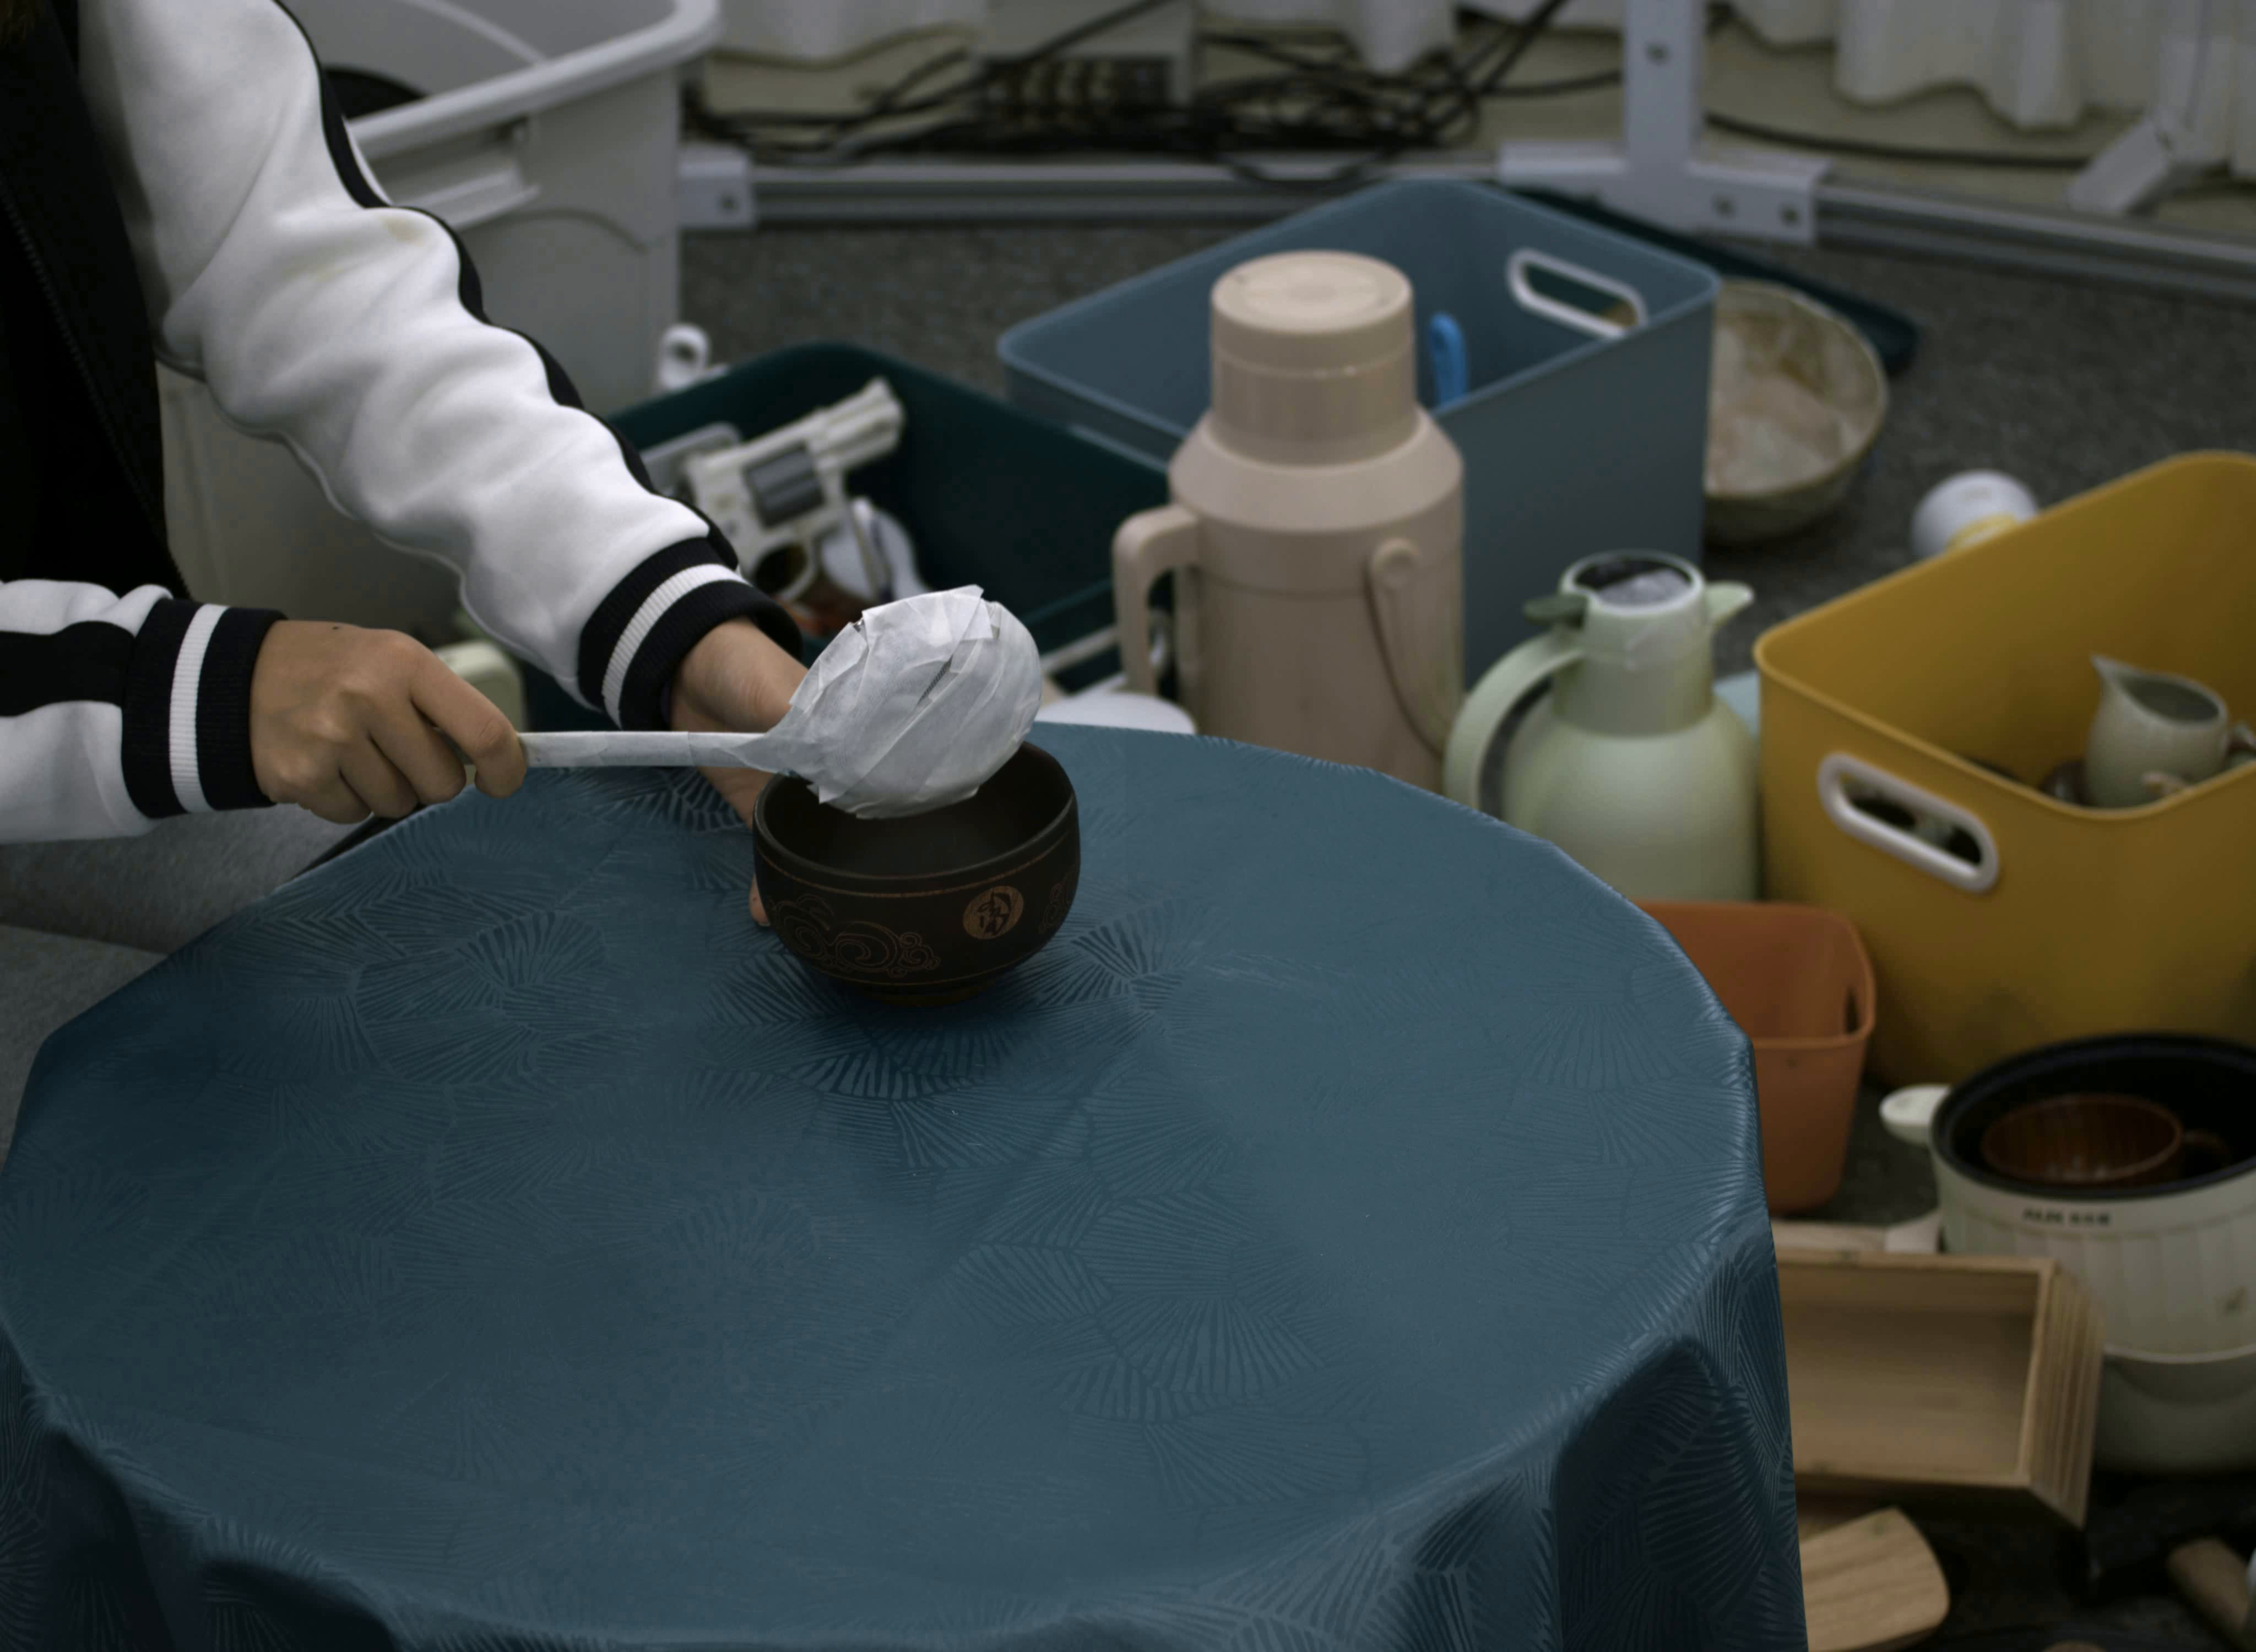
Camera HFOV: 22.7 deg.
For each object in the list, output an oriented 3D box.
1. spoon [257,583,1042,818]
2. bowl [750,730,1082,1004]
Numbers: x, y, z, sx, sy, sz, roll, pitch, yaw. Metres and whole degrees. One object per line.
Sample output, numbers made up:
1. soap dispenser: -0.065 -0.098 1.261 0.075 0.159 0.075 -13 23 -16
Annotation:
1. spoon: -0.168 -0.039 1.975 0.275 0.099 0.060 -1 38 14
2. bowl: -0.074 0.019 1.987 0.117 0.069 0.120 -2 27 2
